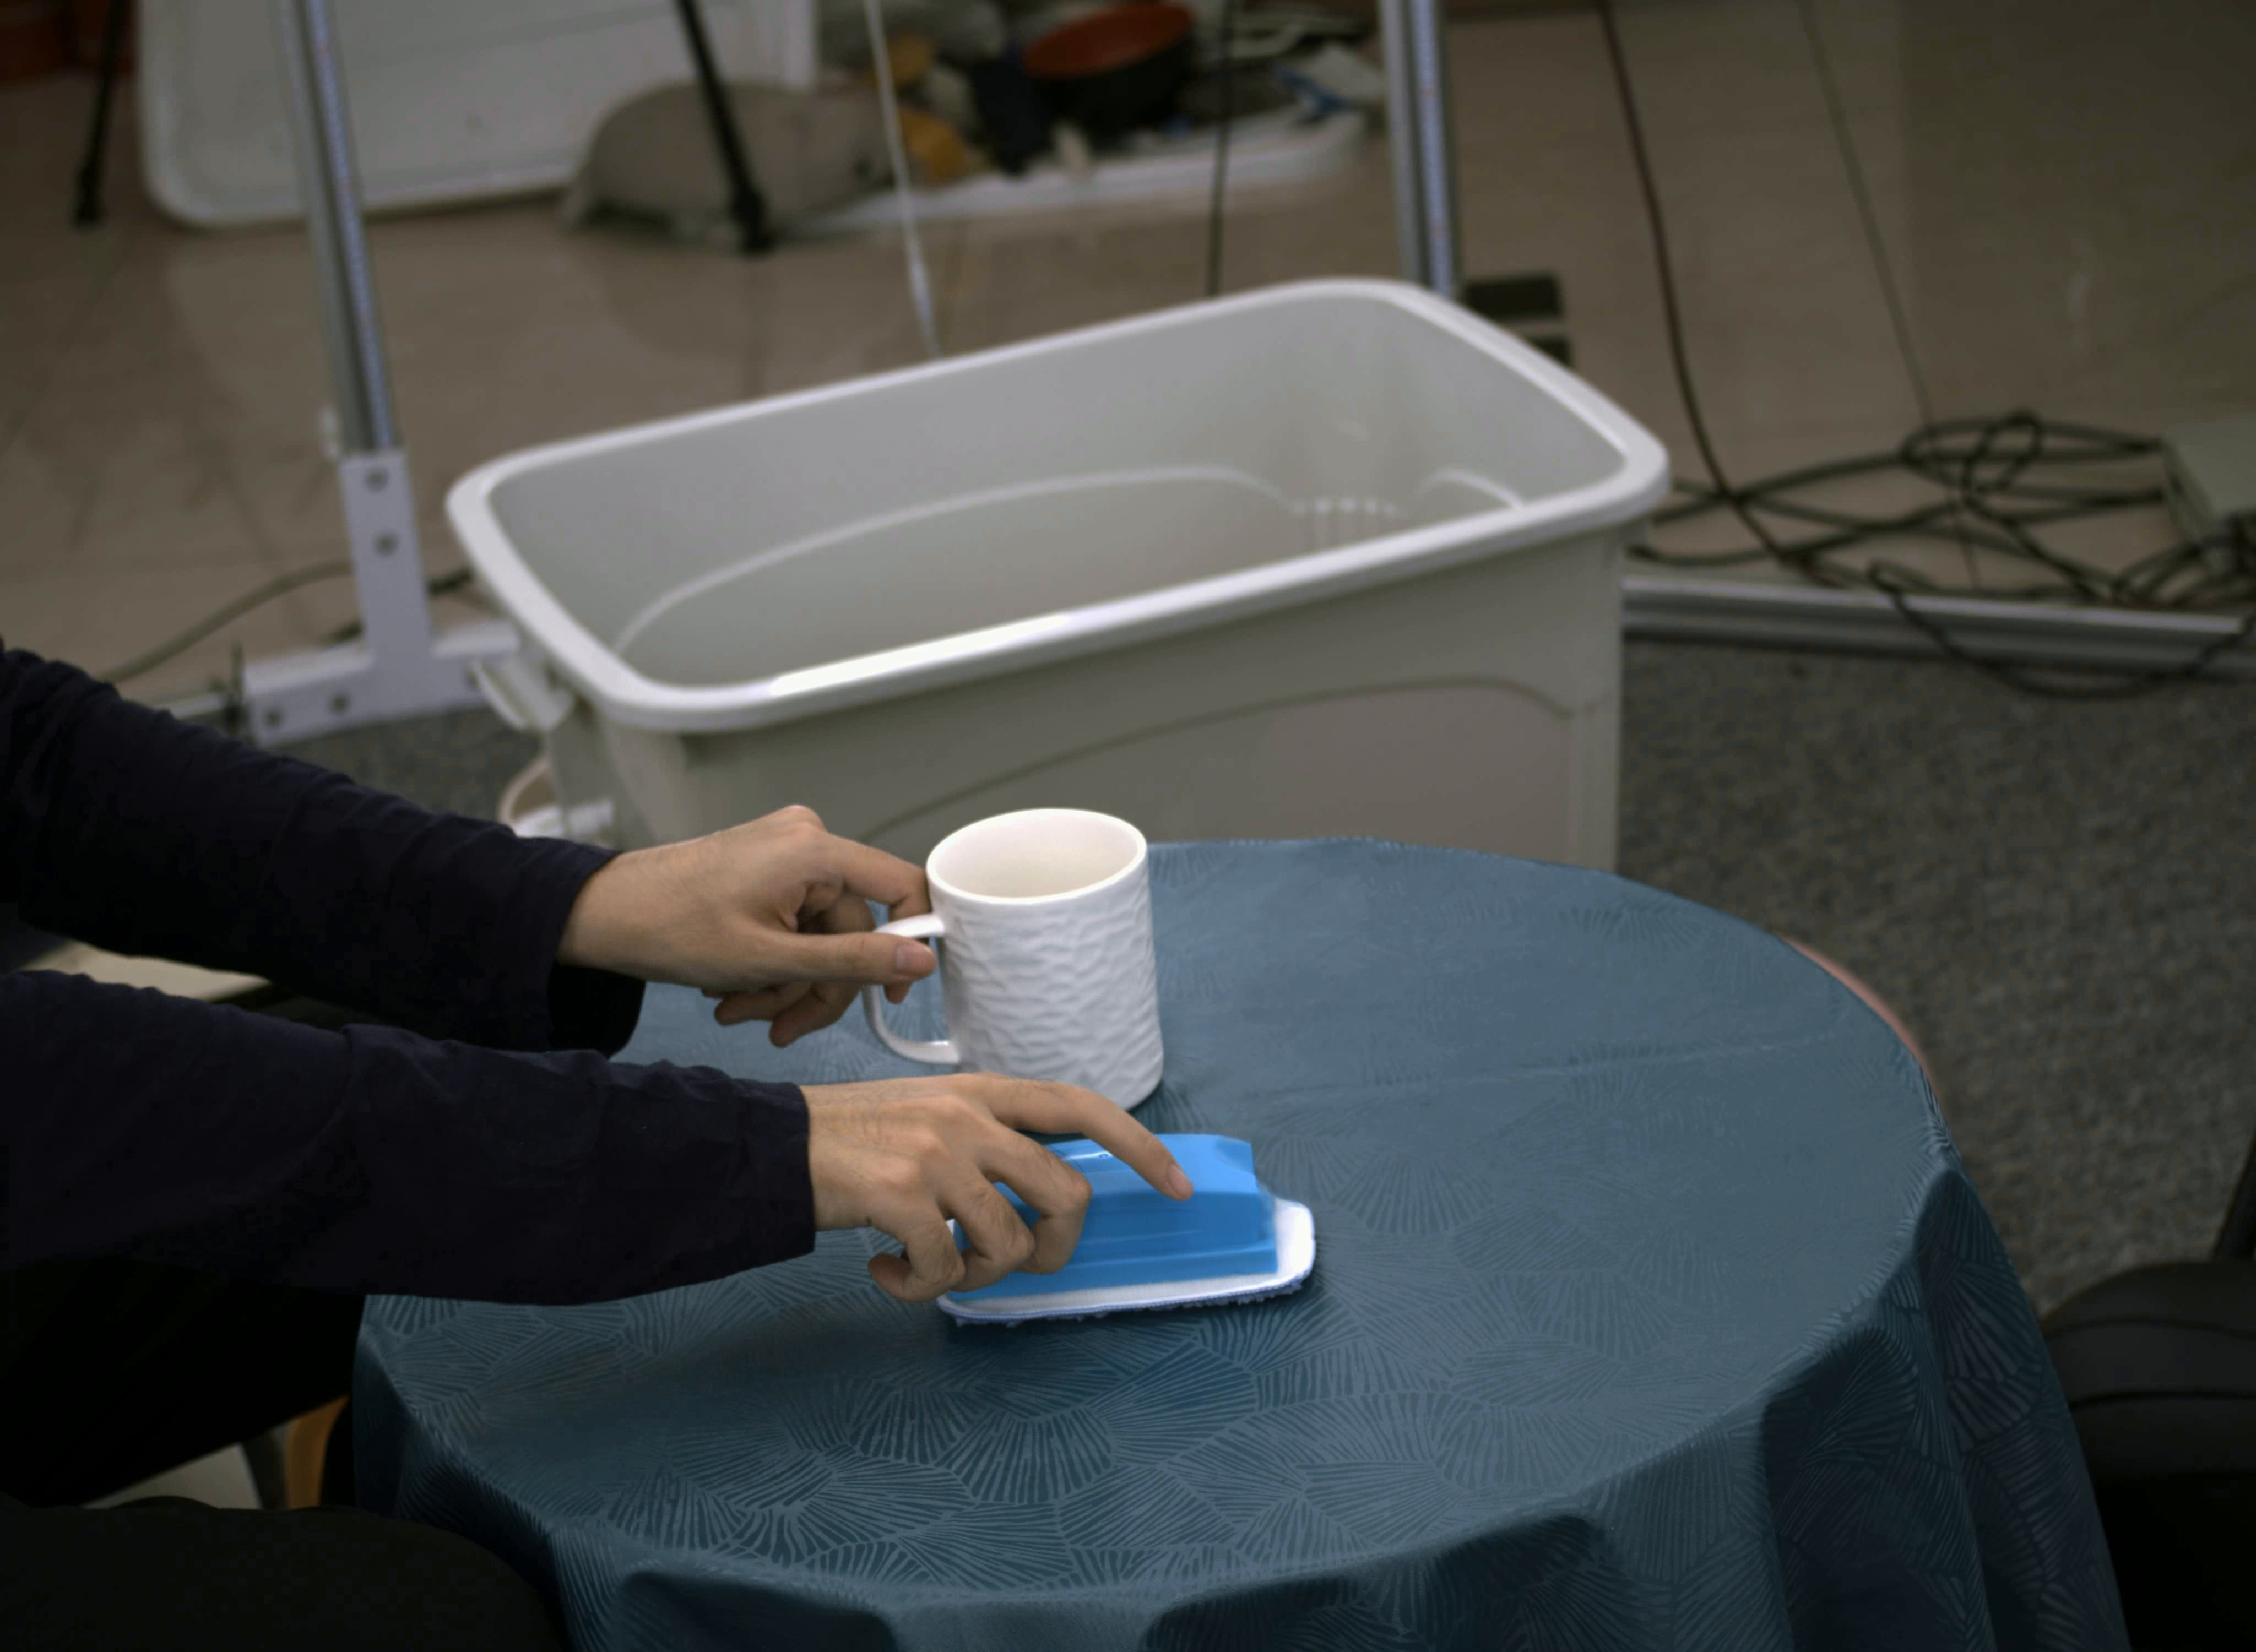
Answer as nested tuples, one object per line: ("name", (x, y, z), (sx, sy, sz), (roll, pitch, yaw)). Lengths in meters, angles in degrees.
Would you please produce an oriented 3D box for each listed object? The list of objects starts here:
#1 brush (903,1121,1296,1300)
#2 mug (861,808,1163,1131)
("brush", (-0.011, 0.138, 2.078), (0.144, 0.057, 0.083), (-2, 22, 3))
("mug", (-0.045, 0.060, 2.203), (0.118, 0.103, 0.084), (-14, 28, -18))
